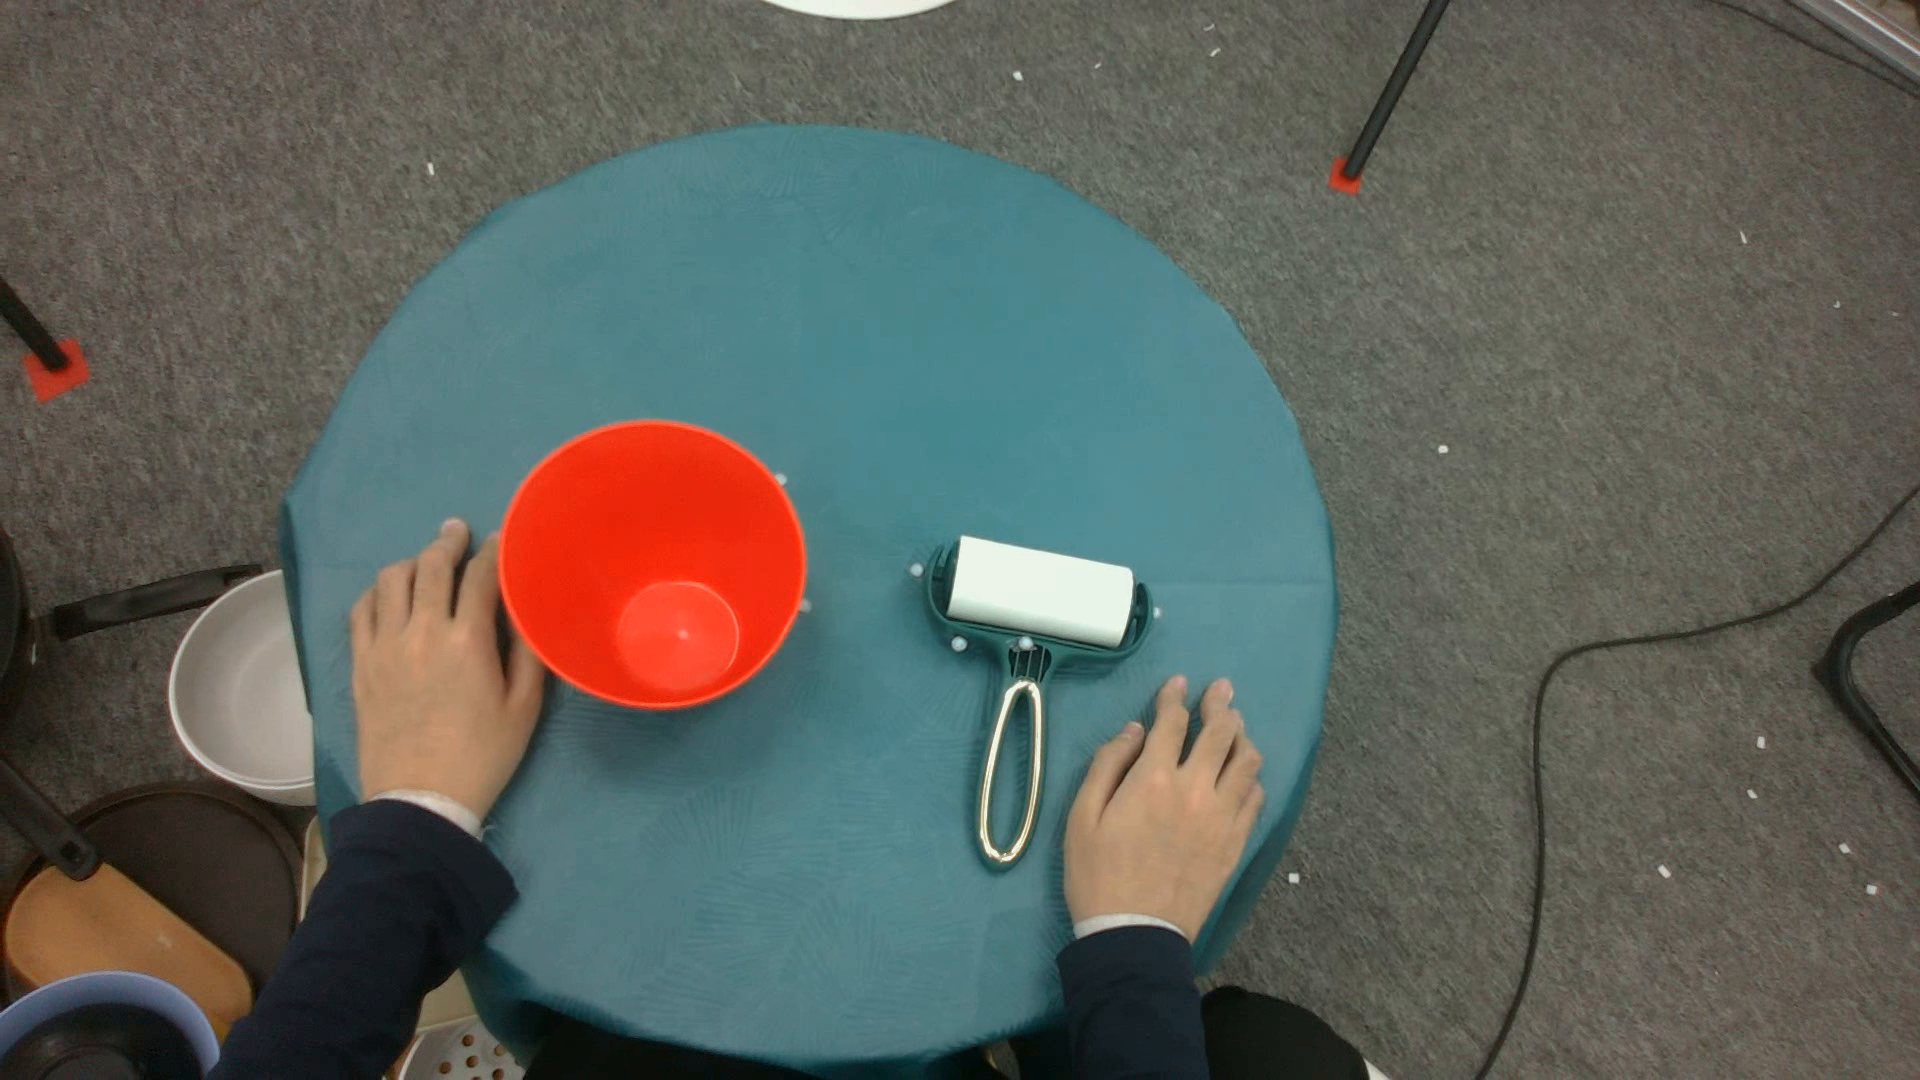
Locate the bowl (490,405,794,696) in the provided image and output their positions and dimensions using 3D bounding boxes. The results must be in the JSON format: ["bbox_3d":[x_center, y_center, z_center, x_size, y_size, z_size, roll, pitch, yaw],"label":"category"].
[{"bbox_3d":[-0.162,0.017,0.723,0.148,0.104,0.148,3,67,-8],"label":"bowl"}]

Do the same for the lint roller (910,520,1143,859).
[{"bbox_3d":[0.028,0.082,0.757,0.134,0.048,0.181,10,67,-5],"label":"lint roller"}]
